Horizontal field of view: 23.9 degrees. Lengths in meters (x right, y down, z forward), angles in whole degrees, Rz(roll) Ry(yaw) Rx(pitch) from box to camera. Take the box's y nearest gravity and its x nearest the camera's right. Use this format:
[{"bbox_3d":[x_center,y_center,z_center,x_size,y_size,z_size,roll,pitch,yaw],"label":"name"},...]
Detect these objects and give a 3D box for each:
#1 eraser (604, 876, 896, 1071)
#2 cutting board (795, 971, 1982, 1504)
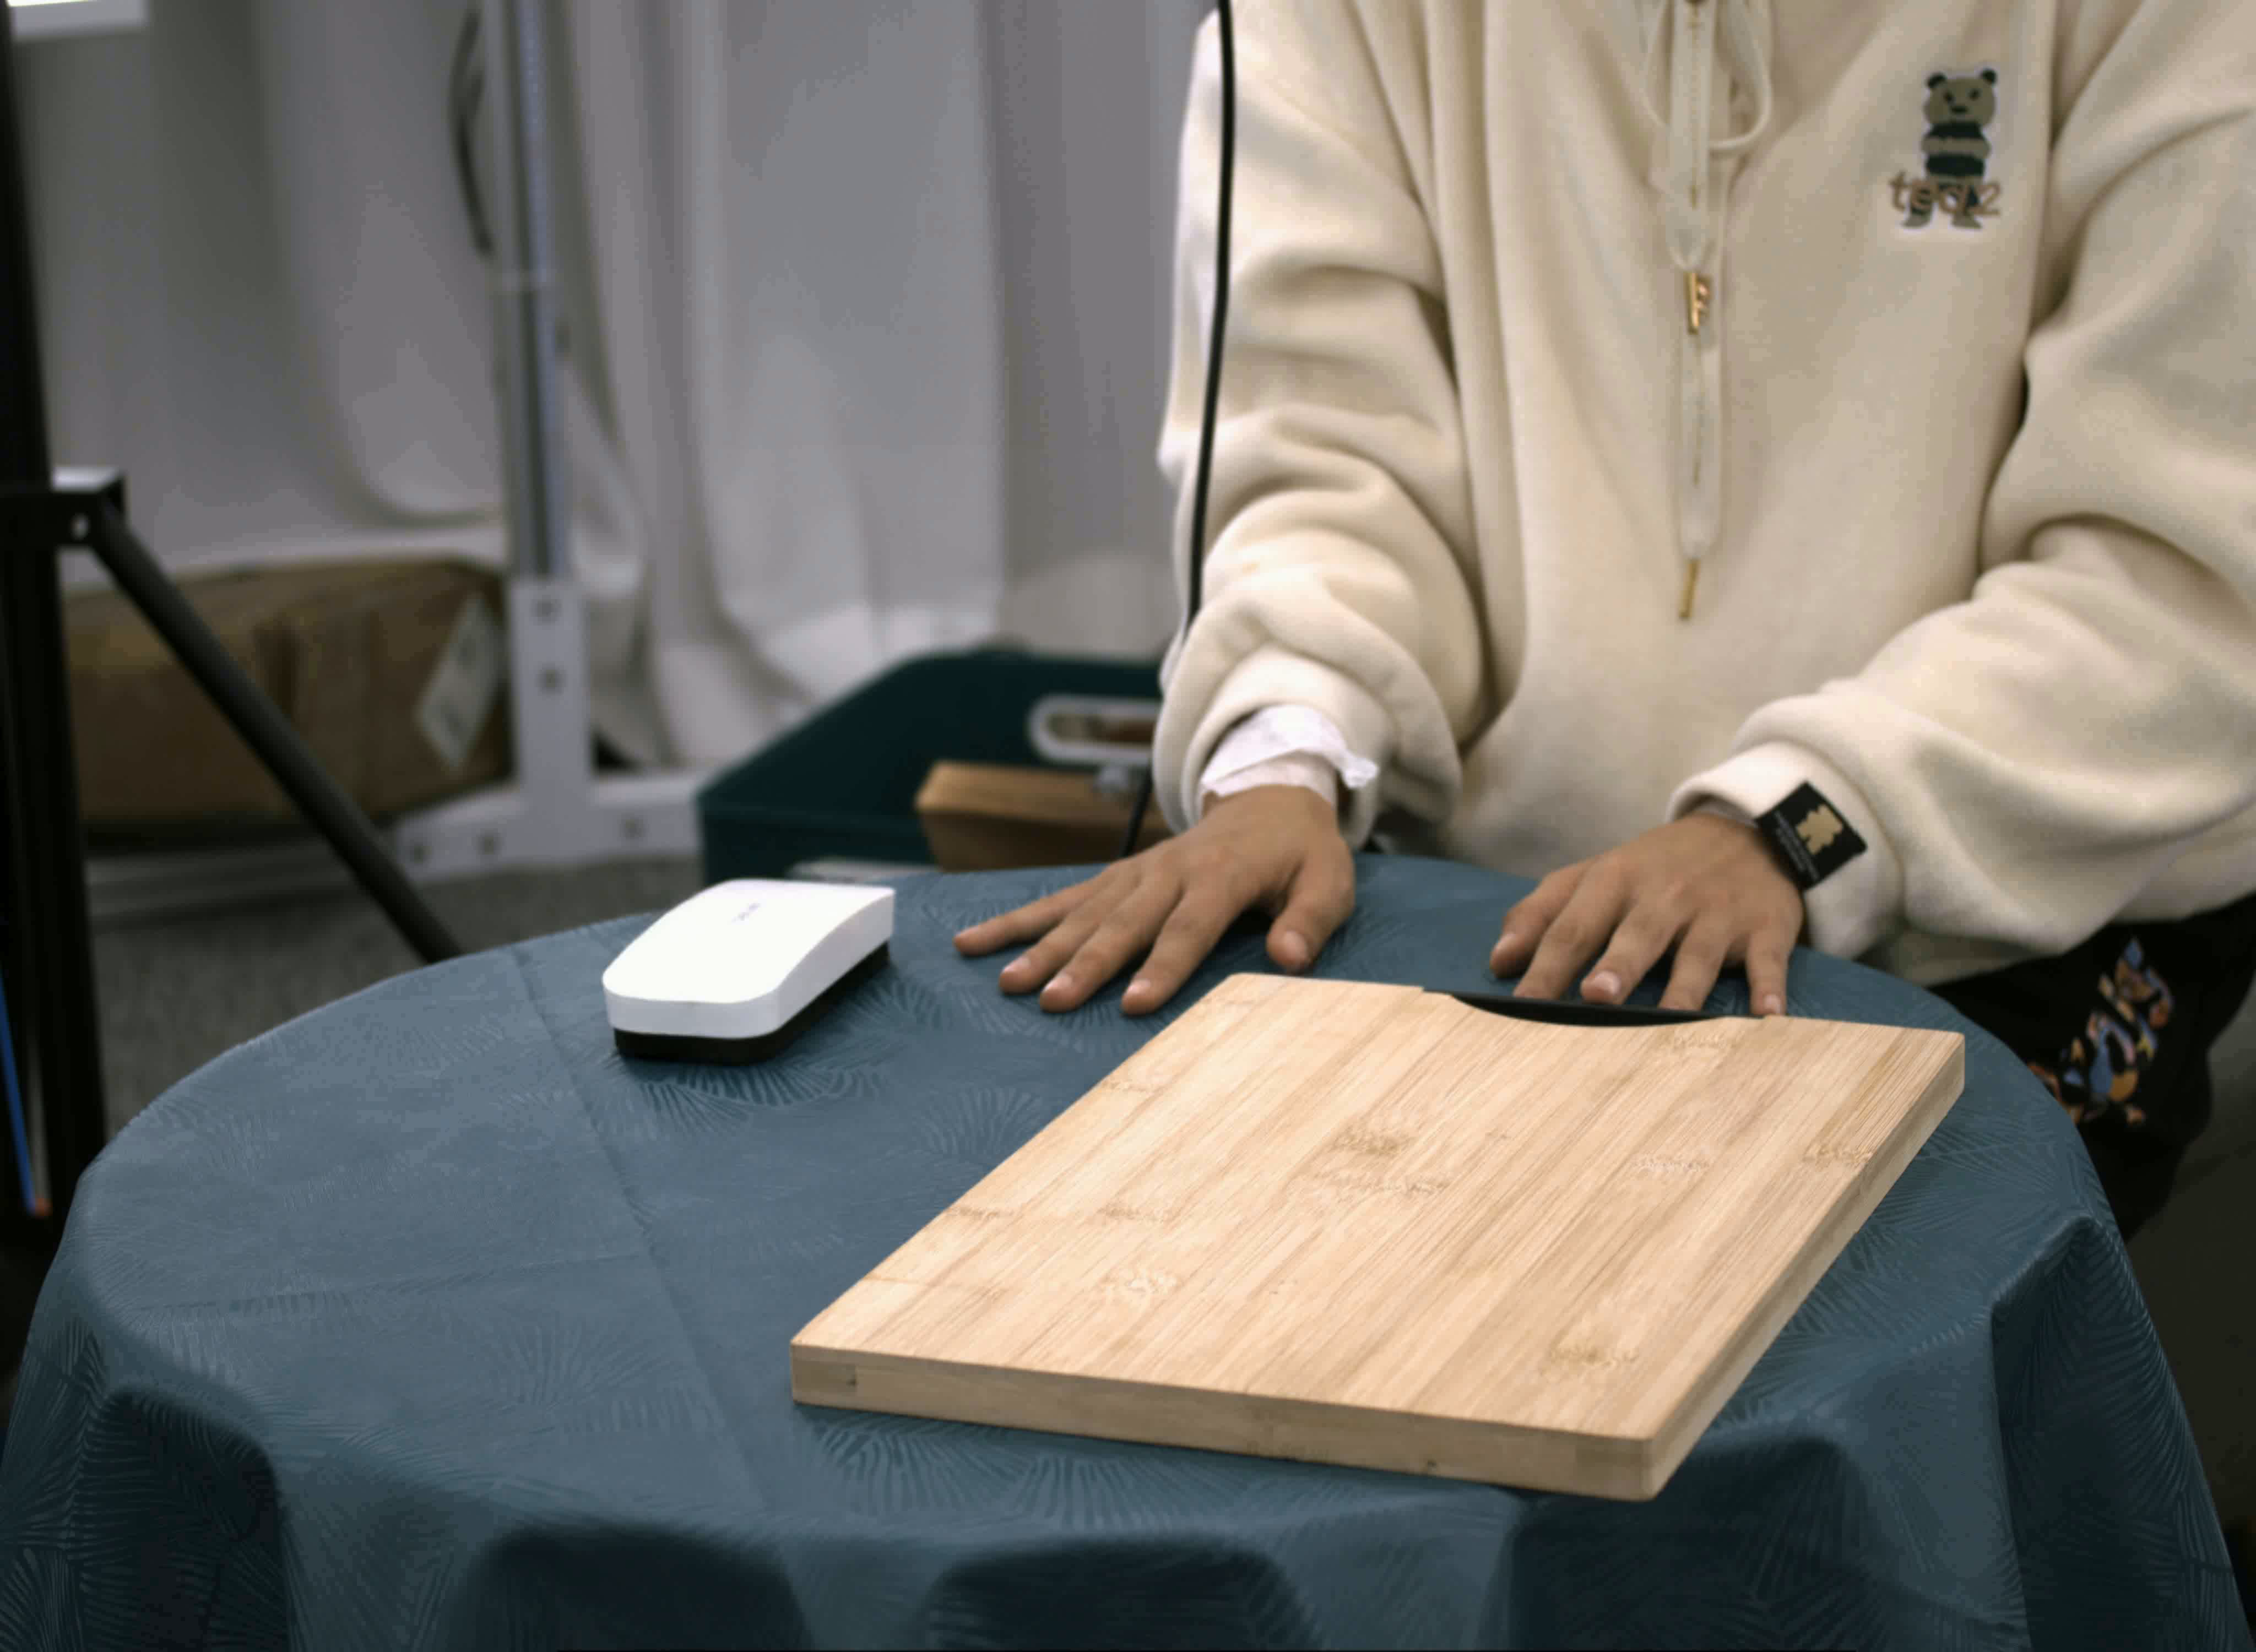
[{"bbox_3d":[-0.121,0.044,1.748,0.064,0.034,0.130,4,18,20],"label":"eraser"},{"bbox_3d":[0.086,0.108,1.513,0.254,0.023,0.344,4,17,21],"label":"cutting board"}]
